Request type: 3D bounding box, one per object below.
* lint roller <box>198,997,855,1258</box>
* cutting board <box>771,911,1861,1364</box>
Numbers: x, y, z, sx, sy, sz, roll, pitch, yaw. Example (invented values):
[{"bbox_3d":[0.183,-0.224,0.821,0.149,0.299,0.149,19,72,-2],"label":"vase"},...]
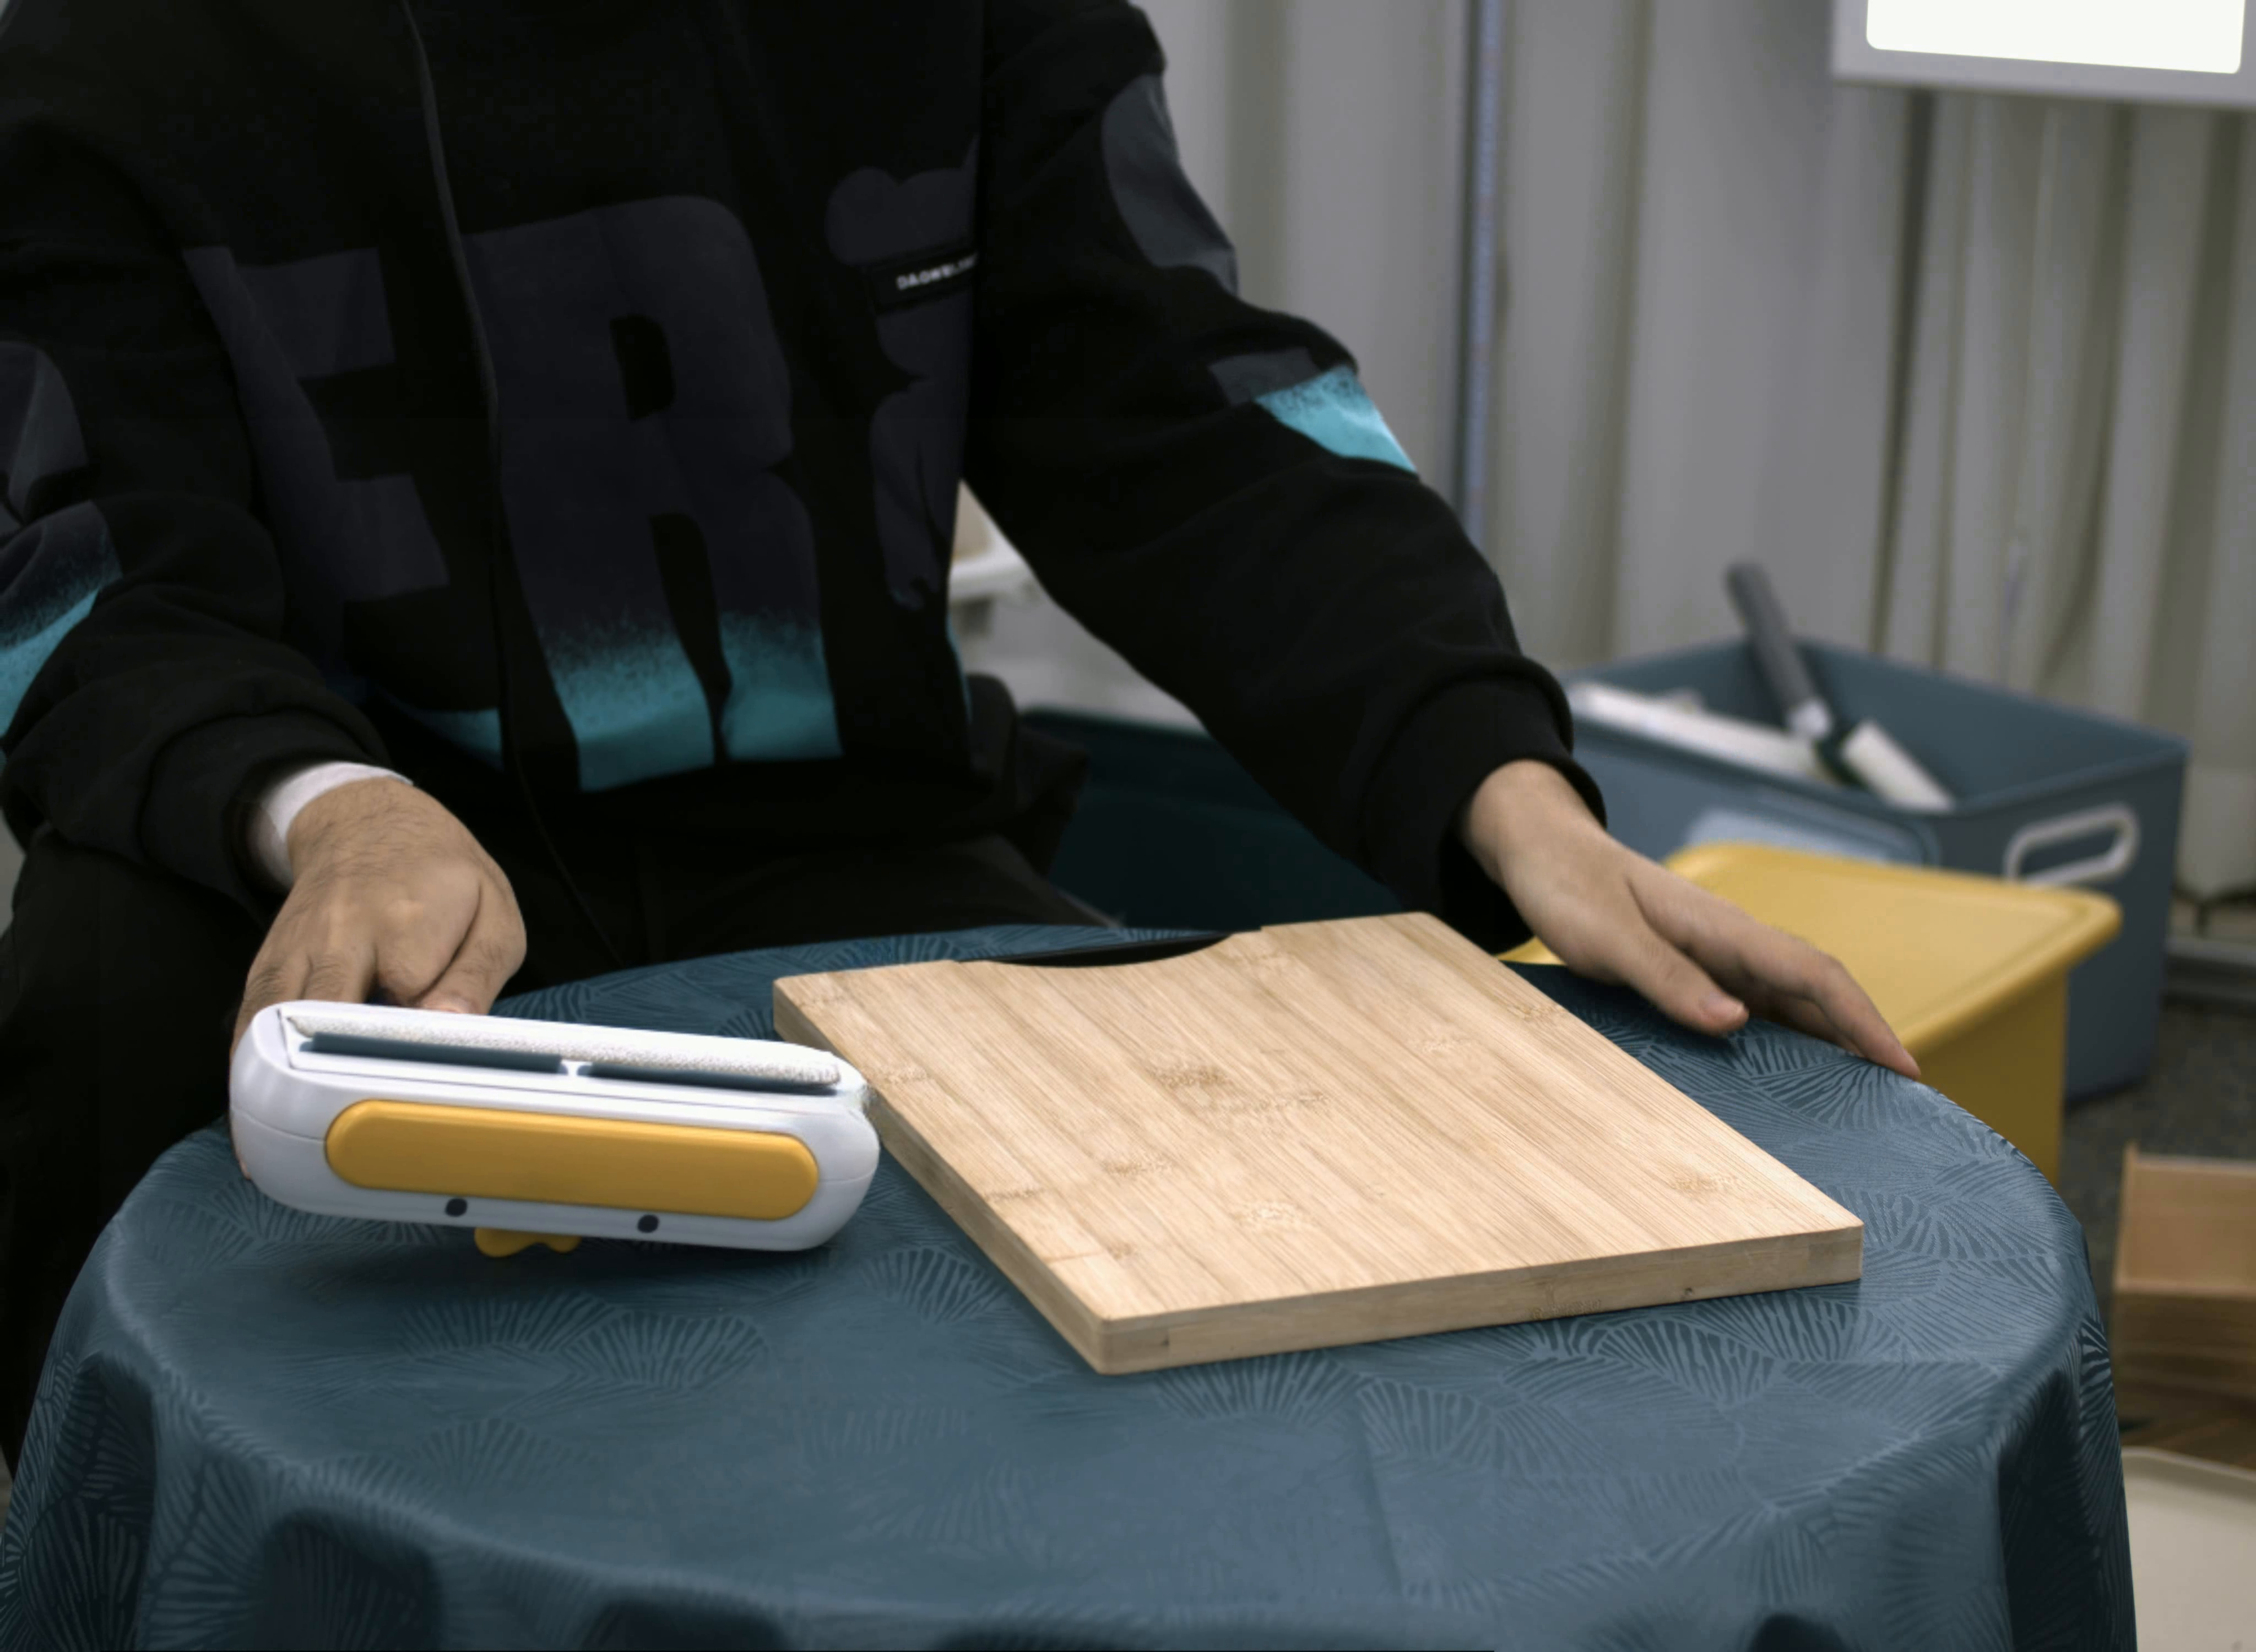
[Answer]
[{"bbox_3d":[-0.188,0.081,1.601,0.193,0.074,0.191,3,13,-13],"label":"lint roller"},{"bbox_3d":[0.047,0.092,1.665,0.251,0.024,0.345,-5,17,-20],"label":"cutting board"}]
